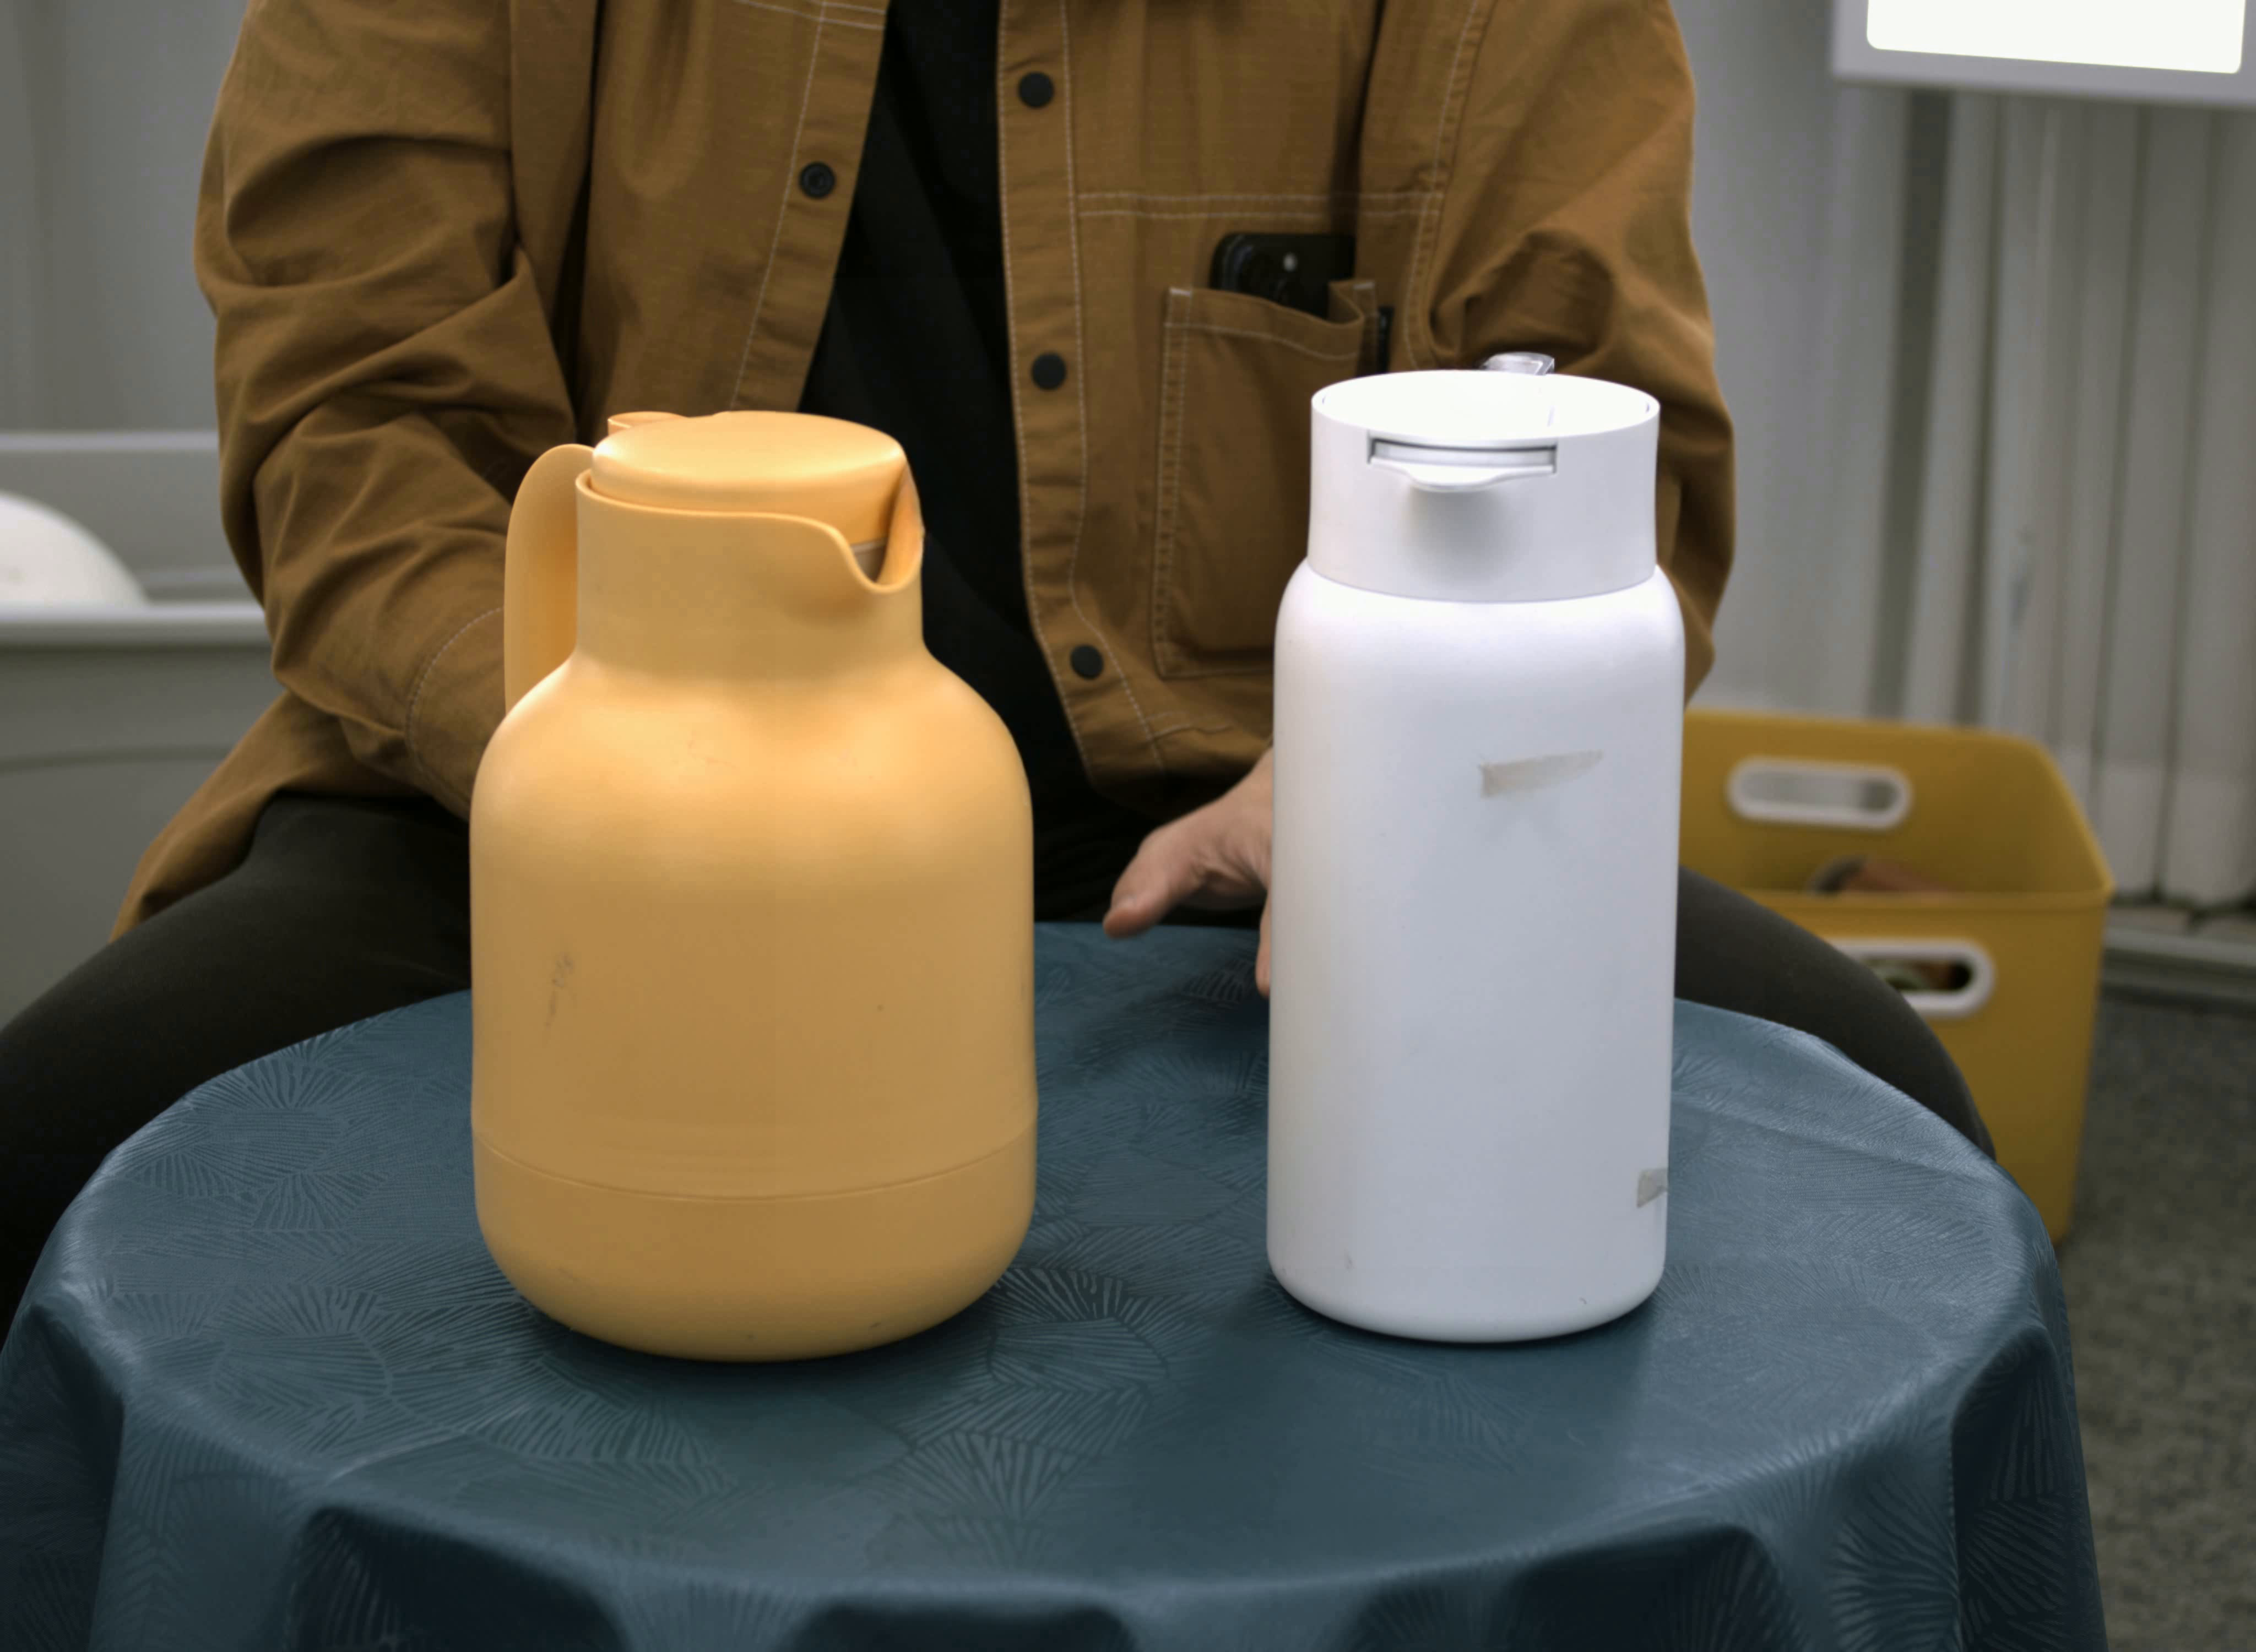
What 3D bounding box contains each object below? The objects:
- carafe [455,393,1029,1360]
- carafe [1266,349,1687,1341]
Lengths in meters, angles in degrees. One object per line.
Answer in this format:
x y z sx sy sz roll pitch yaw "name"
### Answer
-0.118 0.006 1.508 0.164 0.262 0.199 -7 18 -33 "carafe"
0.102 0.001 1.525 0.123 0.271 0.172 2 16 12 "carafe"
